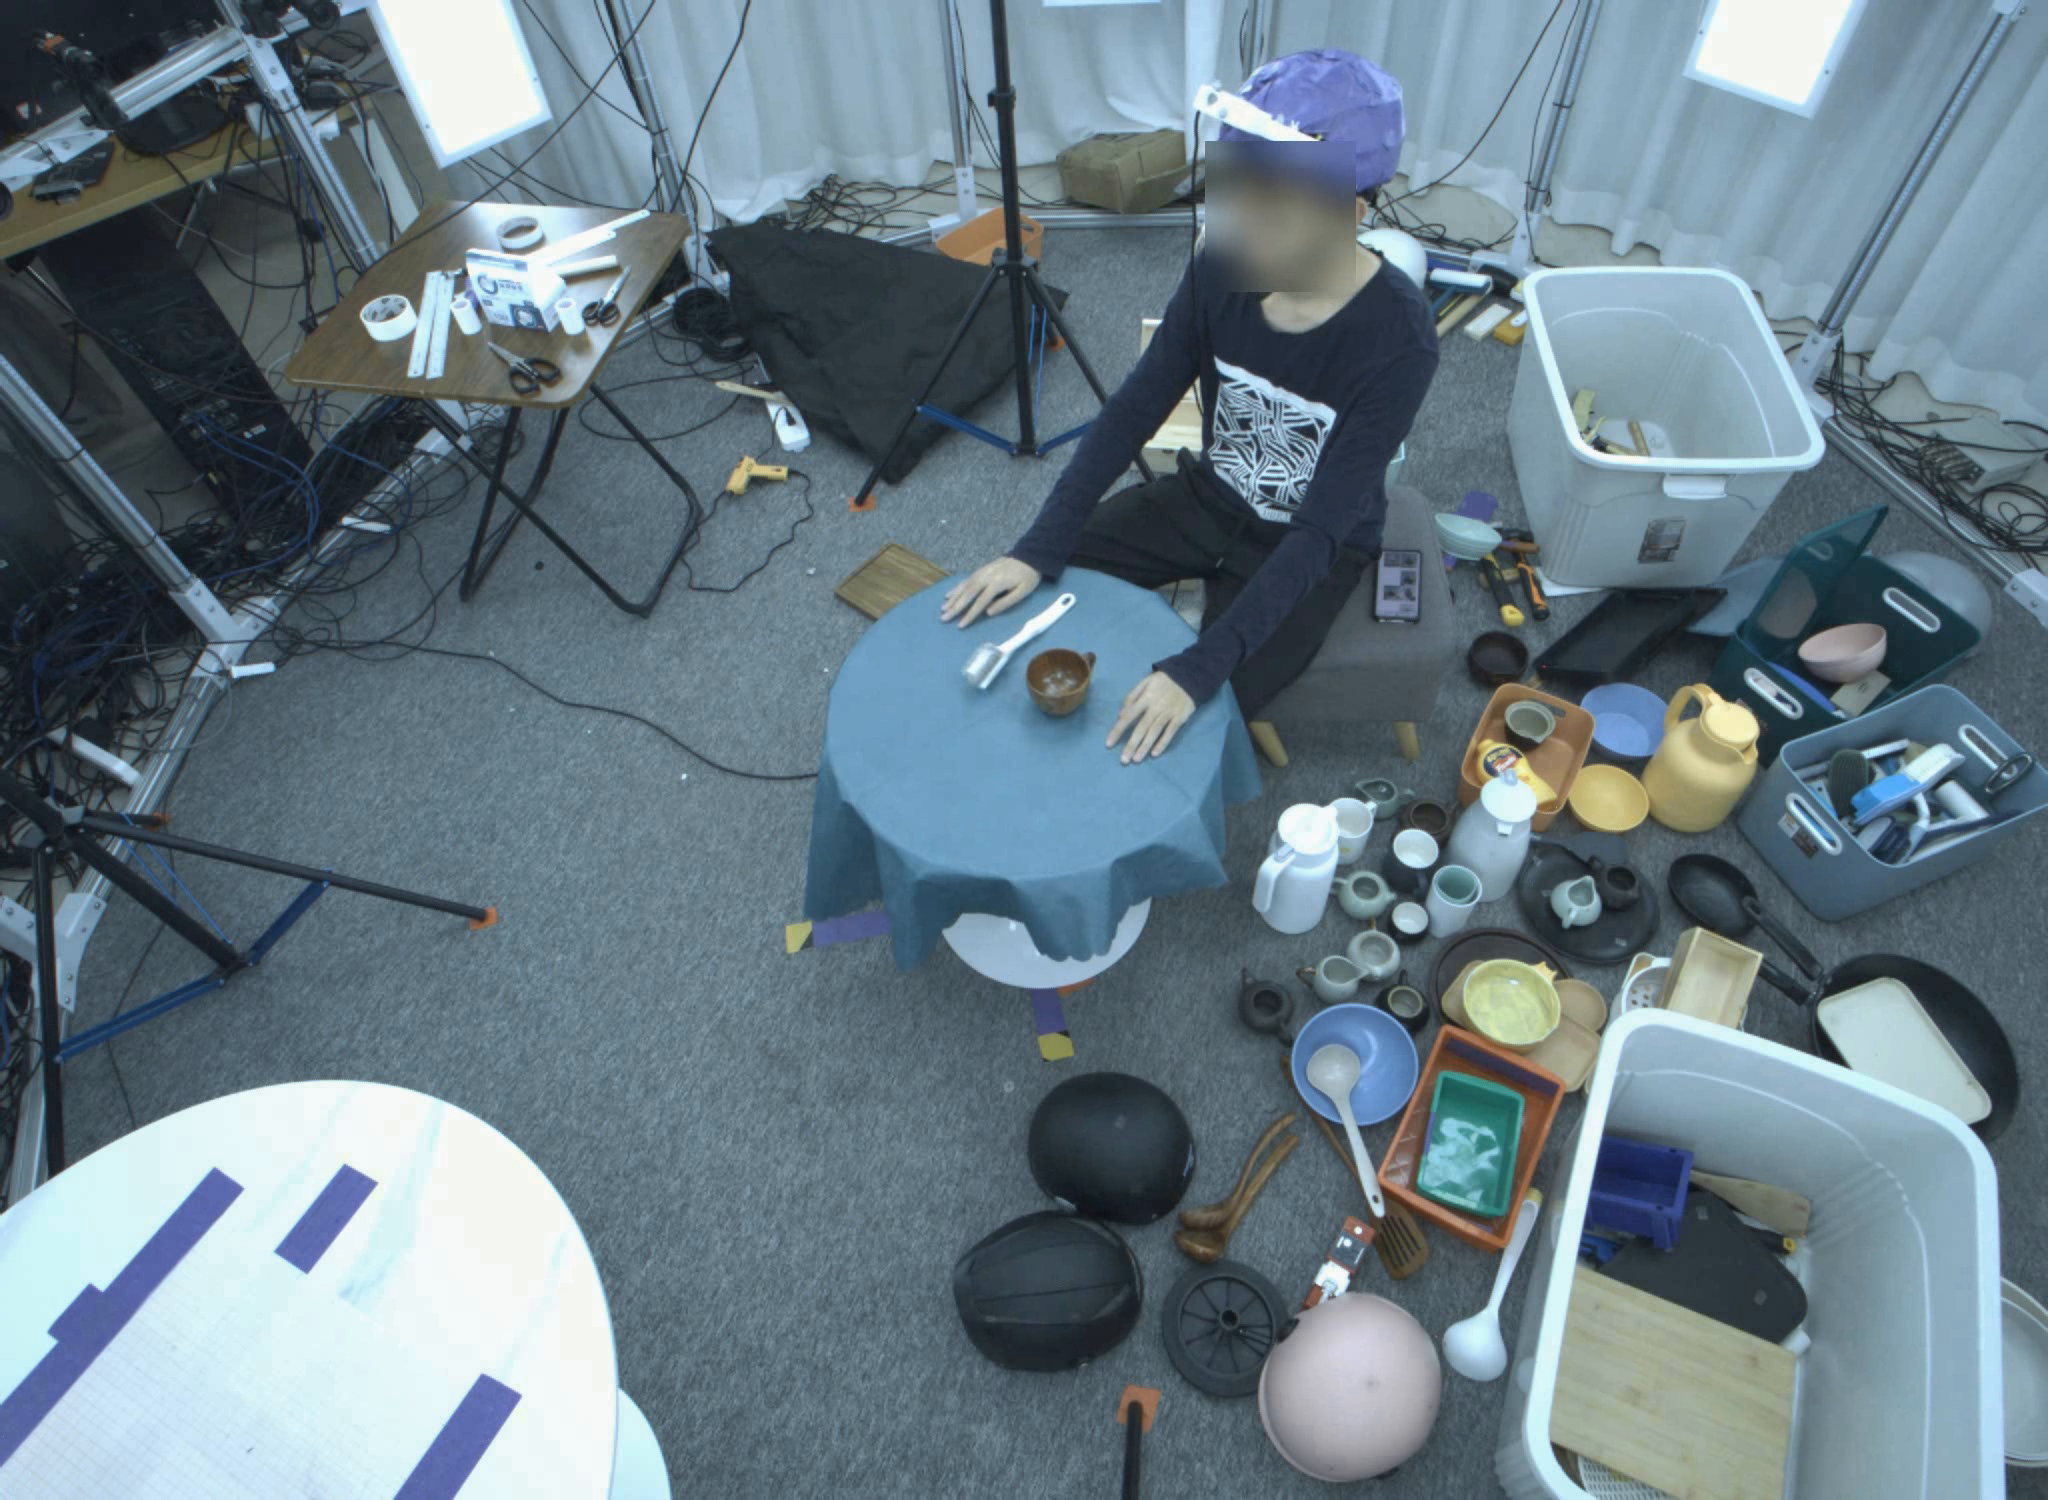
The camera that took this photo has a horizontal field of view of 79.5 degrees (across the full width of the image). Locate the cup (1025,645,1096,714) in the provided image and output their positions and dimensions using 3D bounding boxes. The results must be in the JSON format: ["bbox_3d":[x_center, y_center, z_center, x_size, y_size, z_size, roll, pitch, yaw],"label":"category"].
[{"bbox_3d":[0.062,-0.103,1.807,0.120,0.068,0.094,-37,58,-18],"label":"cup"}]

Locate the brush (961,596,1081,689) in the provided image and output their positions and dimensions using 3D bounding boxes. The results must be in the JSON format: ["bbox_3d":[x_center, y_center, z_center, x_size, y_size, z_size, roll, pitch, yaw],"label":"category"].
[{"bbox_3d":[-0.001,-0.178,1.878,0.034,0.051,0.245,34,62,30],"label":"brush"}]
